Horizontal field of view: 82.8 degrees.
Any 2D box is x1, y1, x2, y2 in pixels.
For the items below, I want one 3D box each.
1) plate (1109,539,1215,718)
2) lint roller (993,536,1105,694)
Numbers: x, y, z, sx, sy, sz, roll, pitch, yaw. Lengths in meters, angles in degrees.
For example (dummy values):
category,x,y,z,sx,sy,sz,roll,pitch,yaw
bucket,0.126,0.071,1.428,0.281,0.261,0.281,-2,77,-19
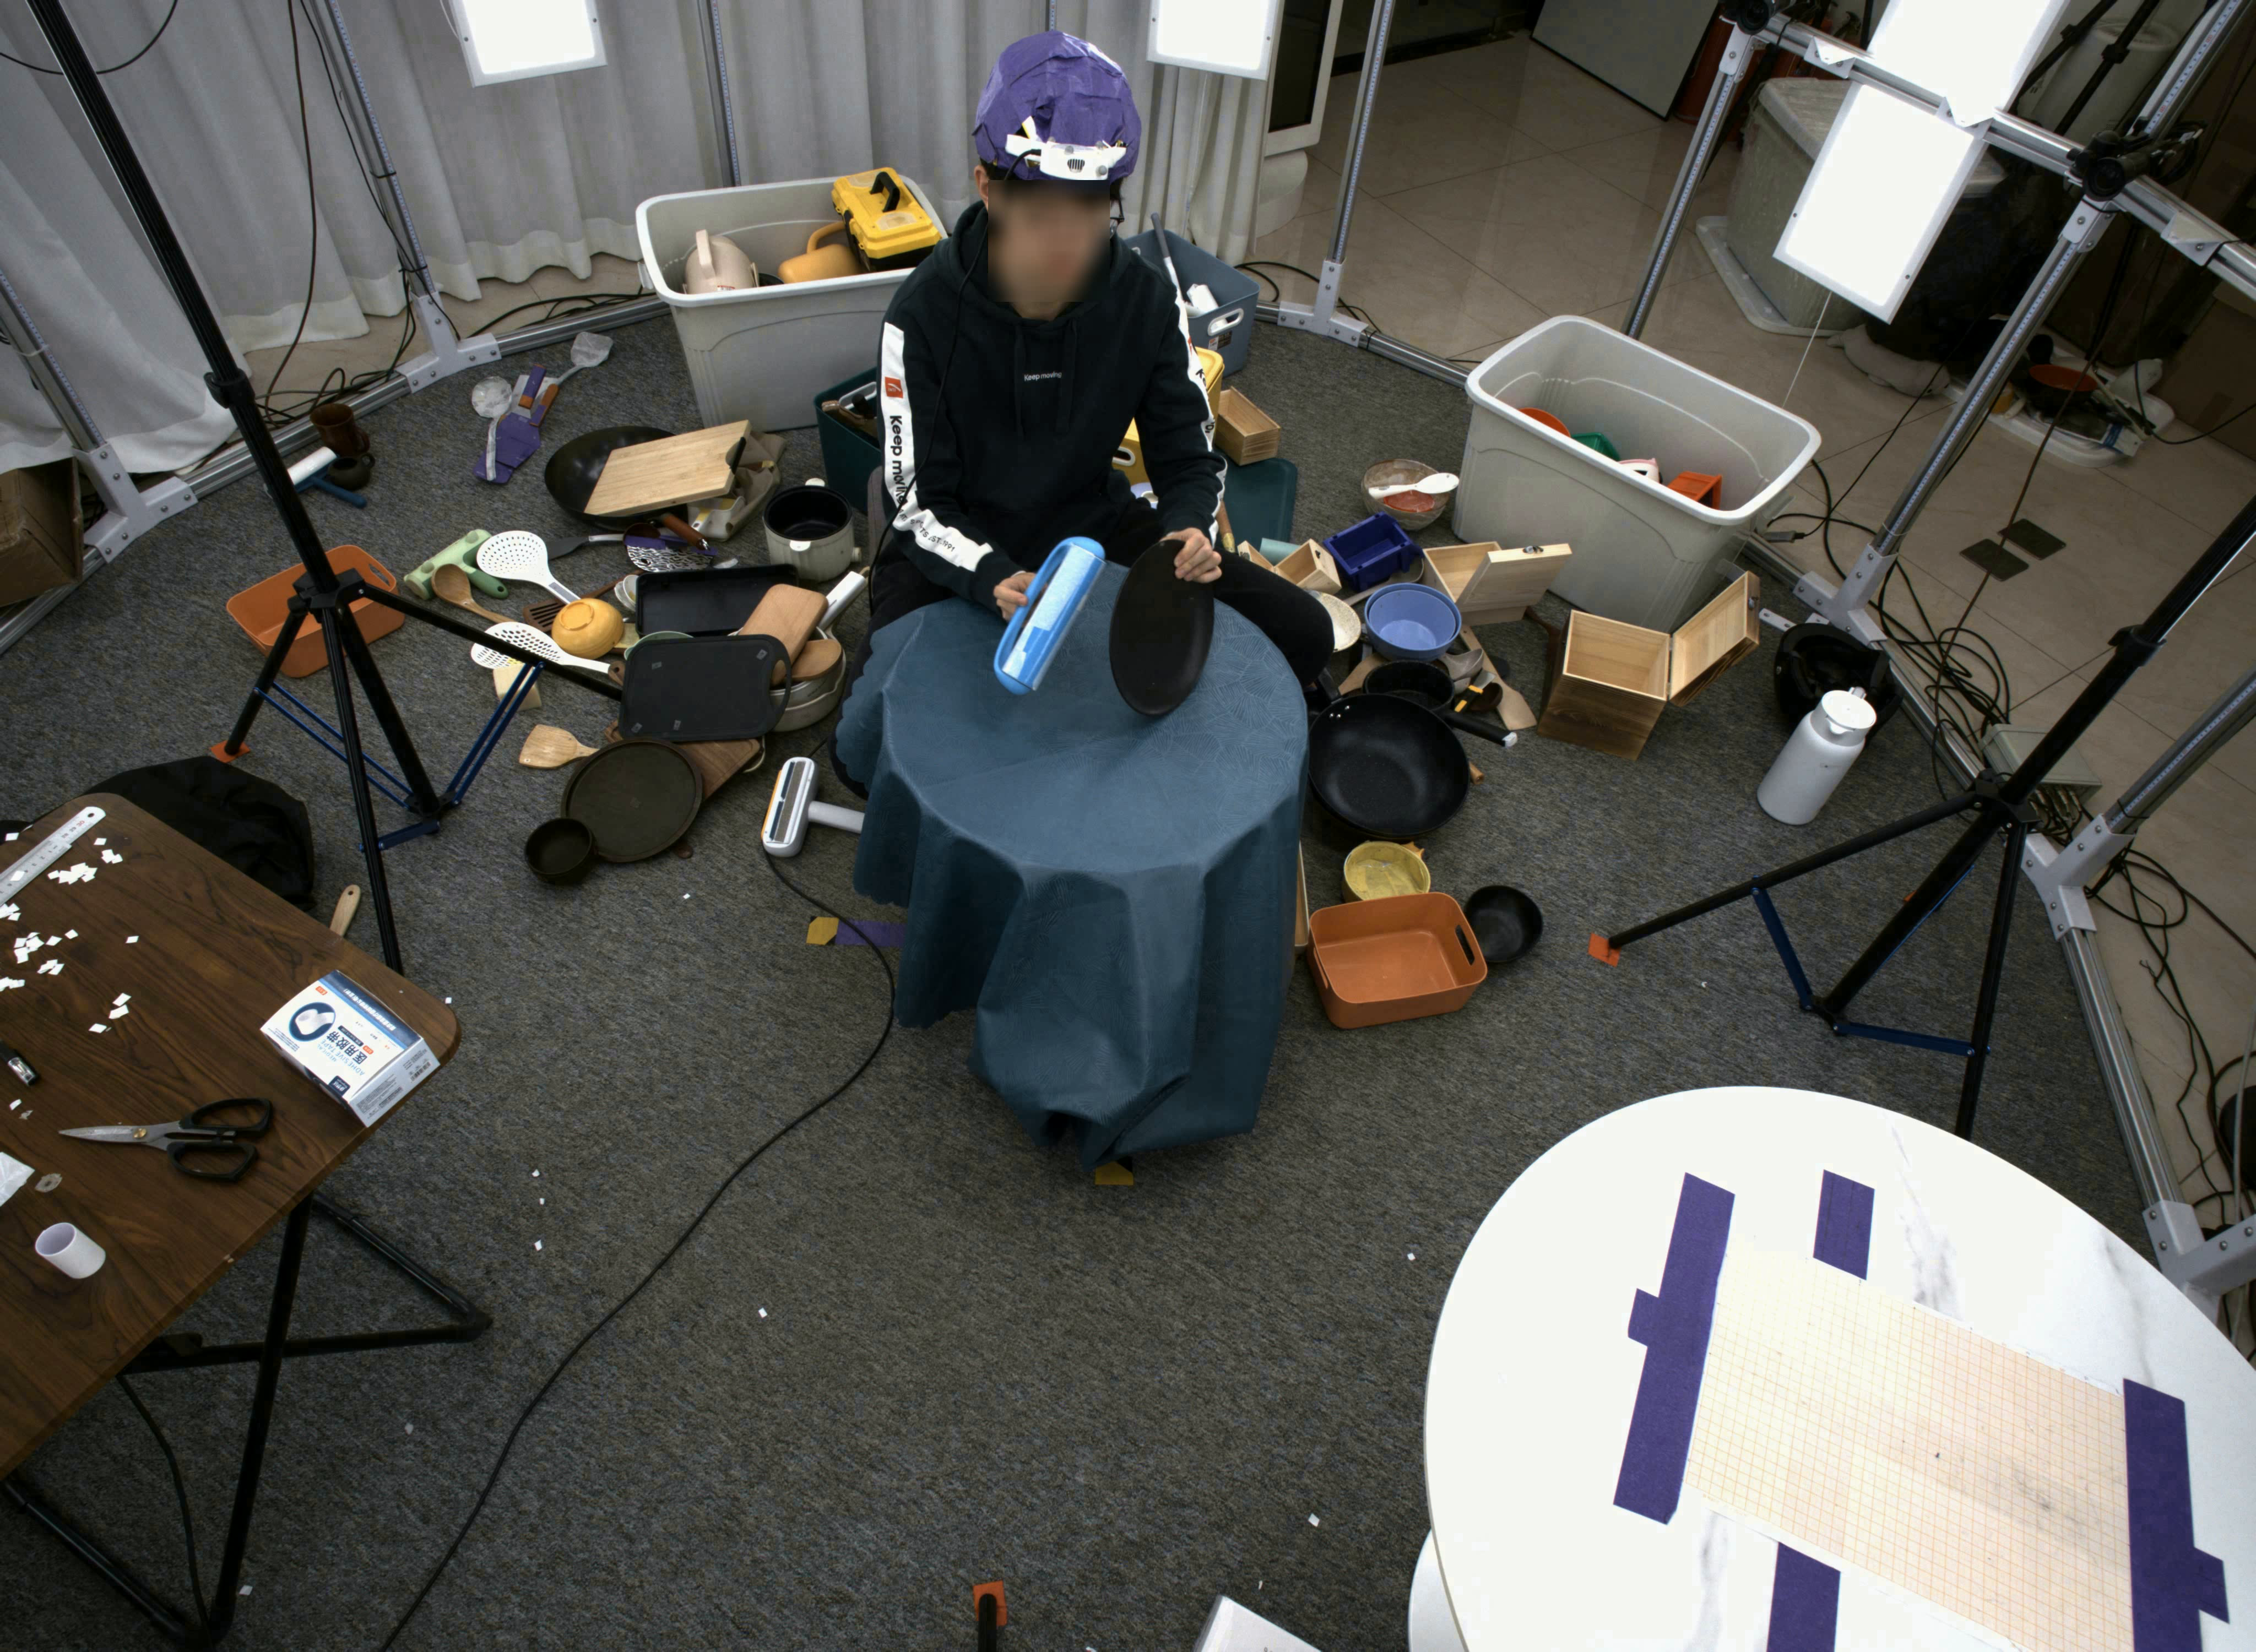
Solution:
category,x,y,z,sx,sy,sz,roll,pitch,yaw
plate,0.044,-0.270,1.764,0.023,0.239,0.248,12,45,36
lint roller,-0.120,-0.292,1.760,0.067,0.229,0.182,28,1,-23
